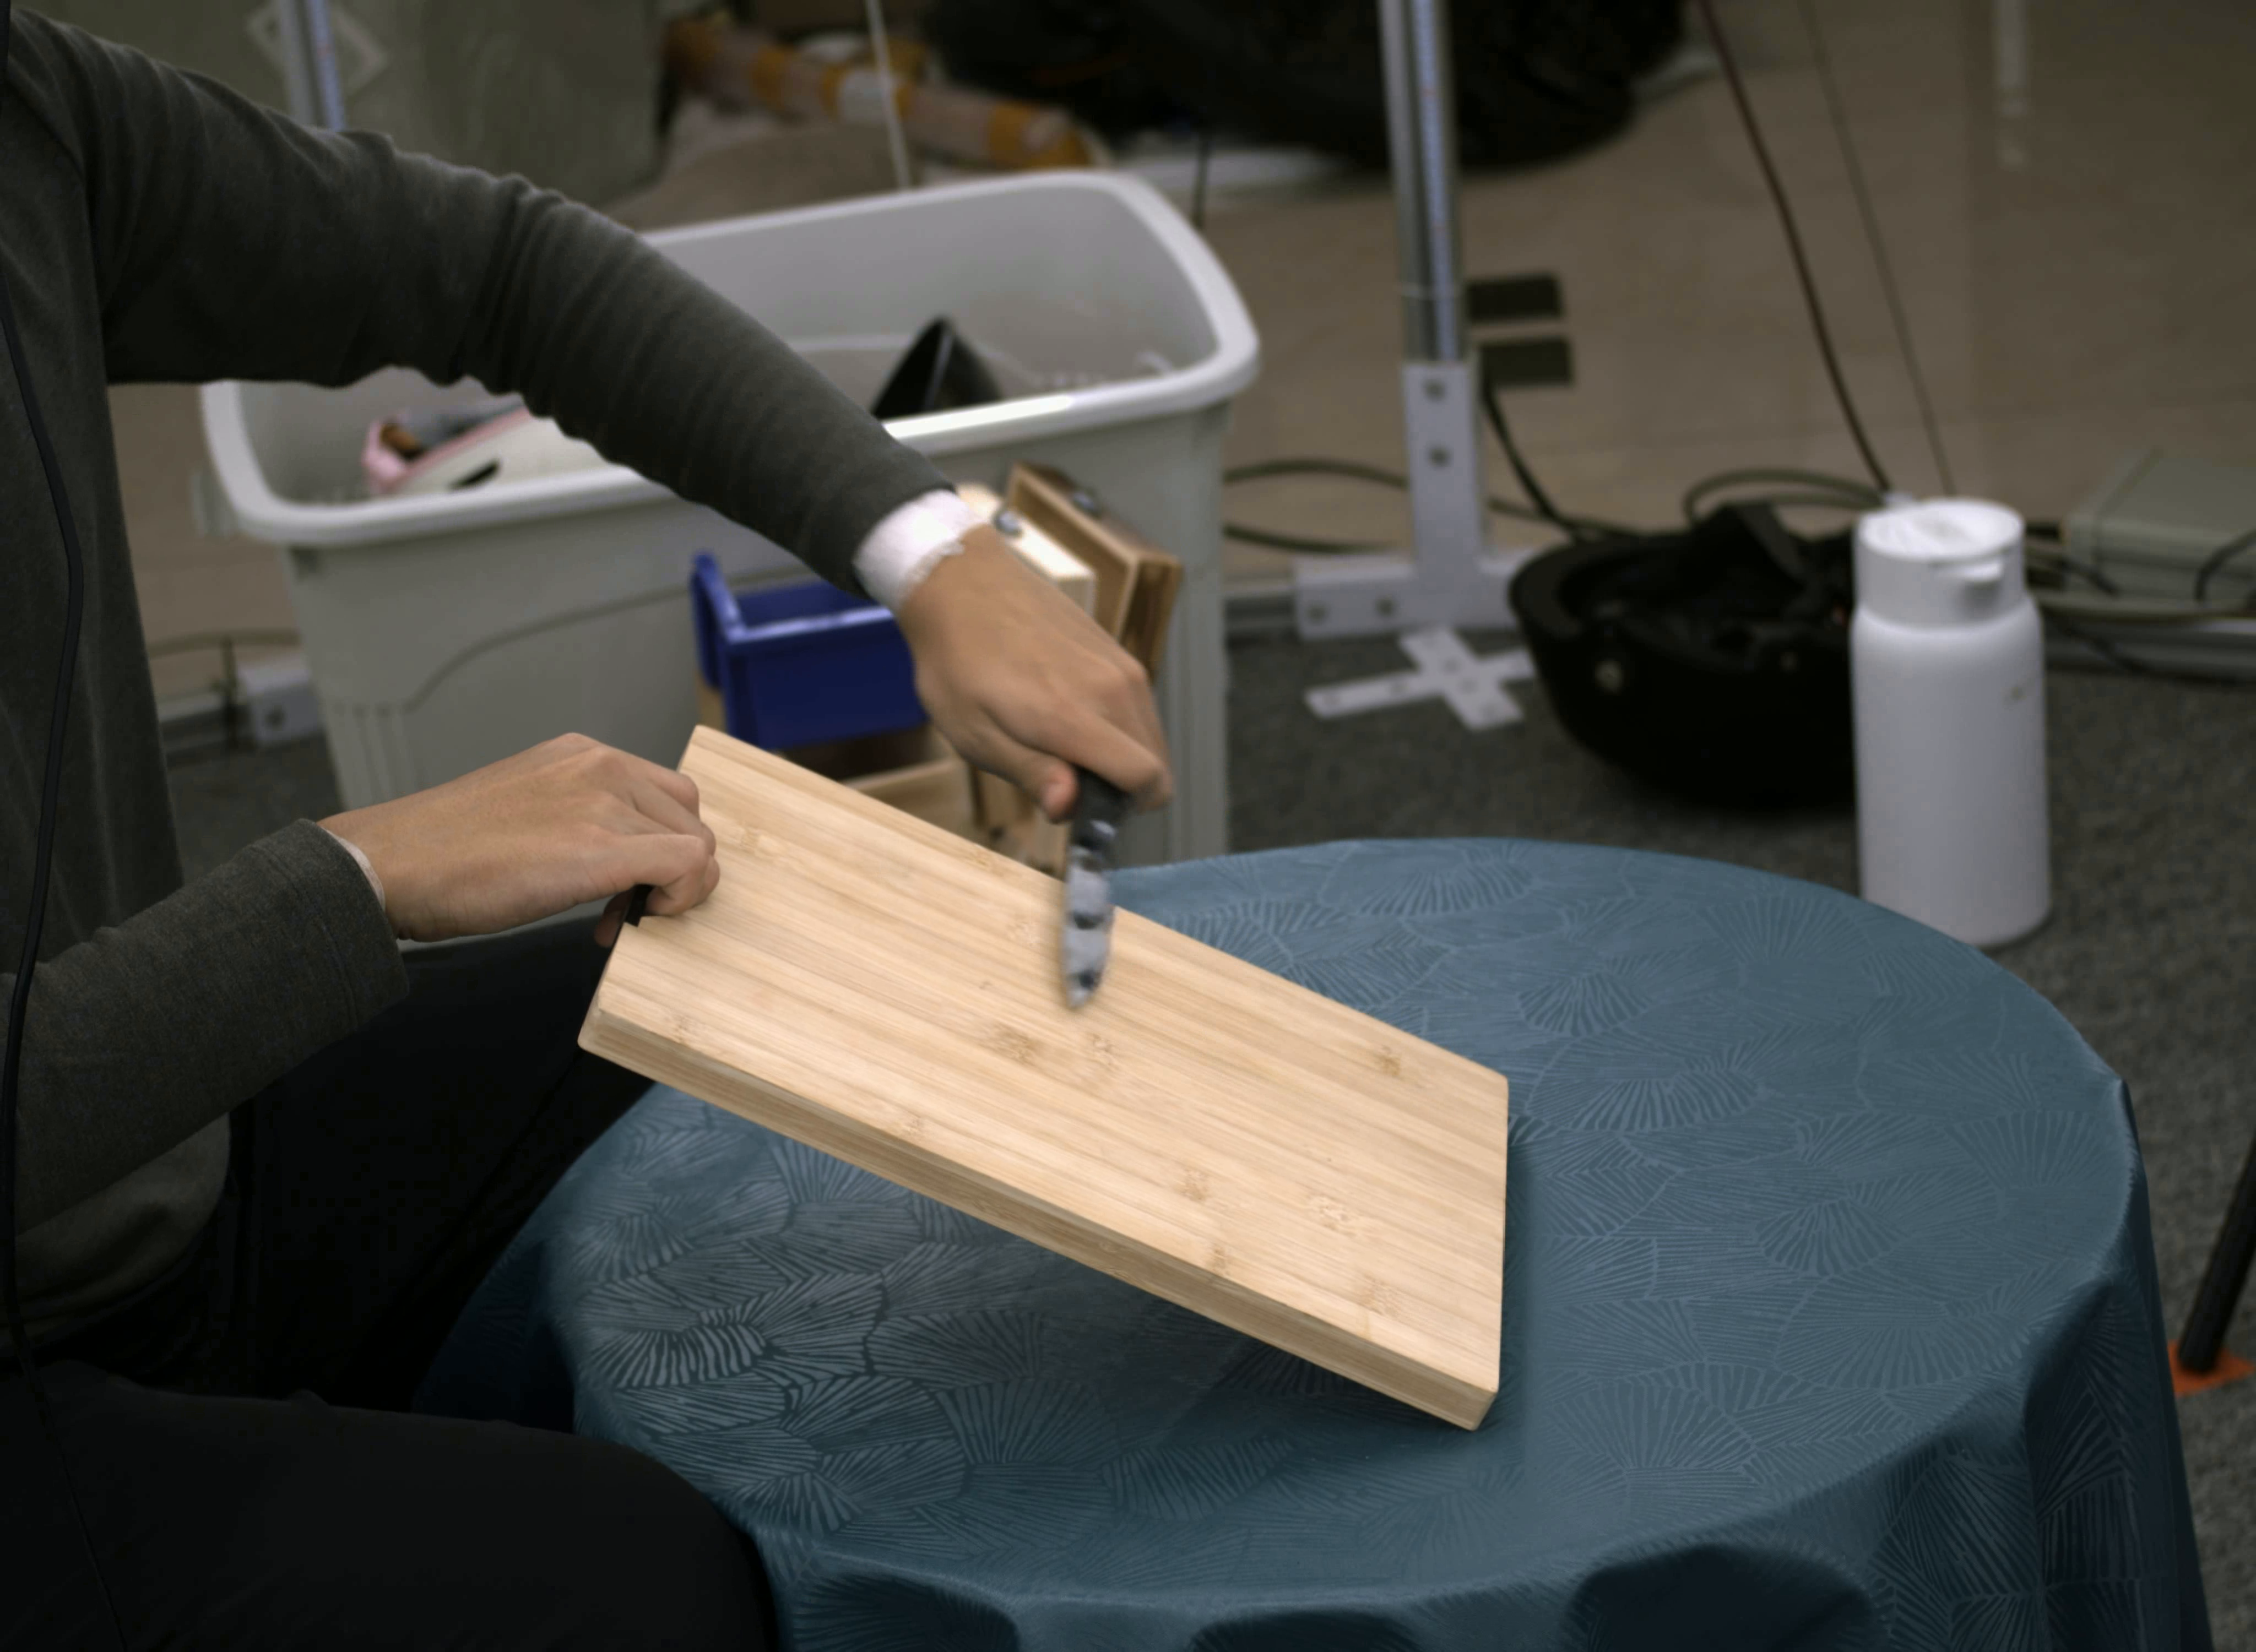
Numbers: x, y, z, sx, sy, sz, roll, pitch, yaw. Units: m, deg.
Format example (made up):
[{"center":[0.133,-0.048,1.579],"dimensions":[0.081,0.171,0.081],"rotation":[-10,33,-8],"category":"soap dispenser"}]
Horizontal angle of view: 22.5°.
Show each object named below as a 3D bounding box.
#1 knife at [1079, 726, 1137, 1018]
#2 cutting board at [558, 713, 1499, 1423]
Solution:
[{"center":[-0.008,0.016,2.159],"dimensions":[0.024,0.016,0.234],"rotation":[34,22,-15],"category":"knife"},{"center":[-0.026,0.084,2.050],"dimensions":[0.349,0.024,0.247],"rotation":[24,24,-8],"category":"cutting board"}]
